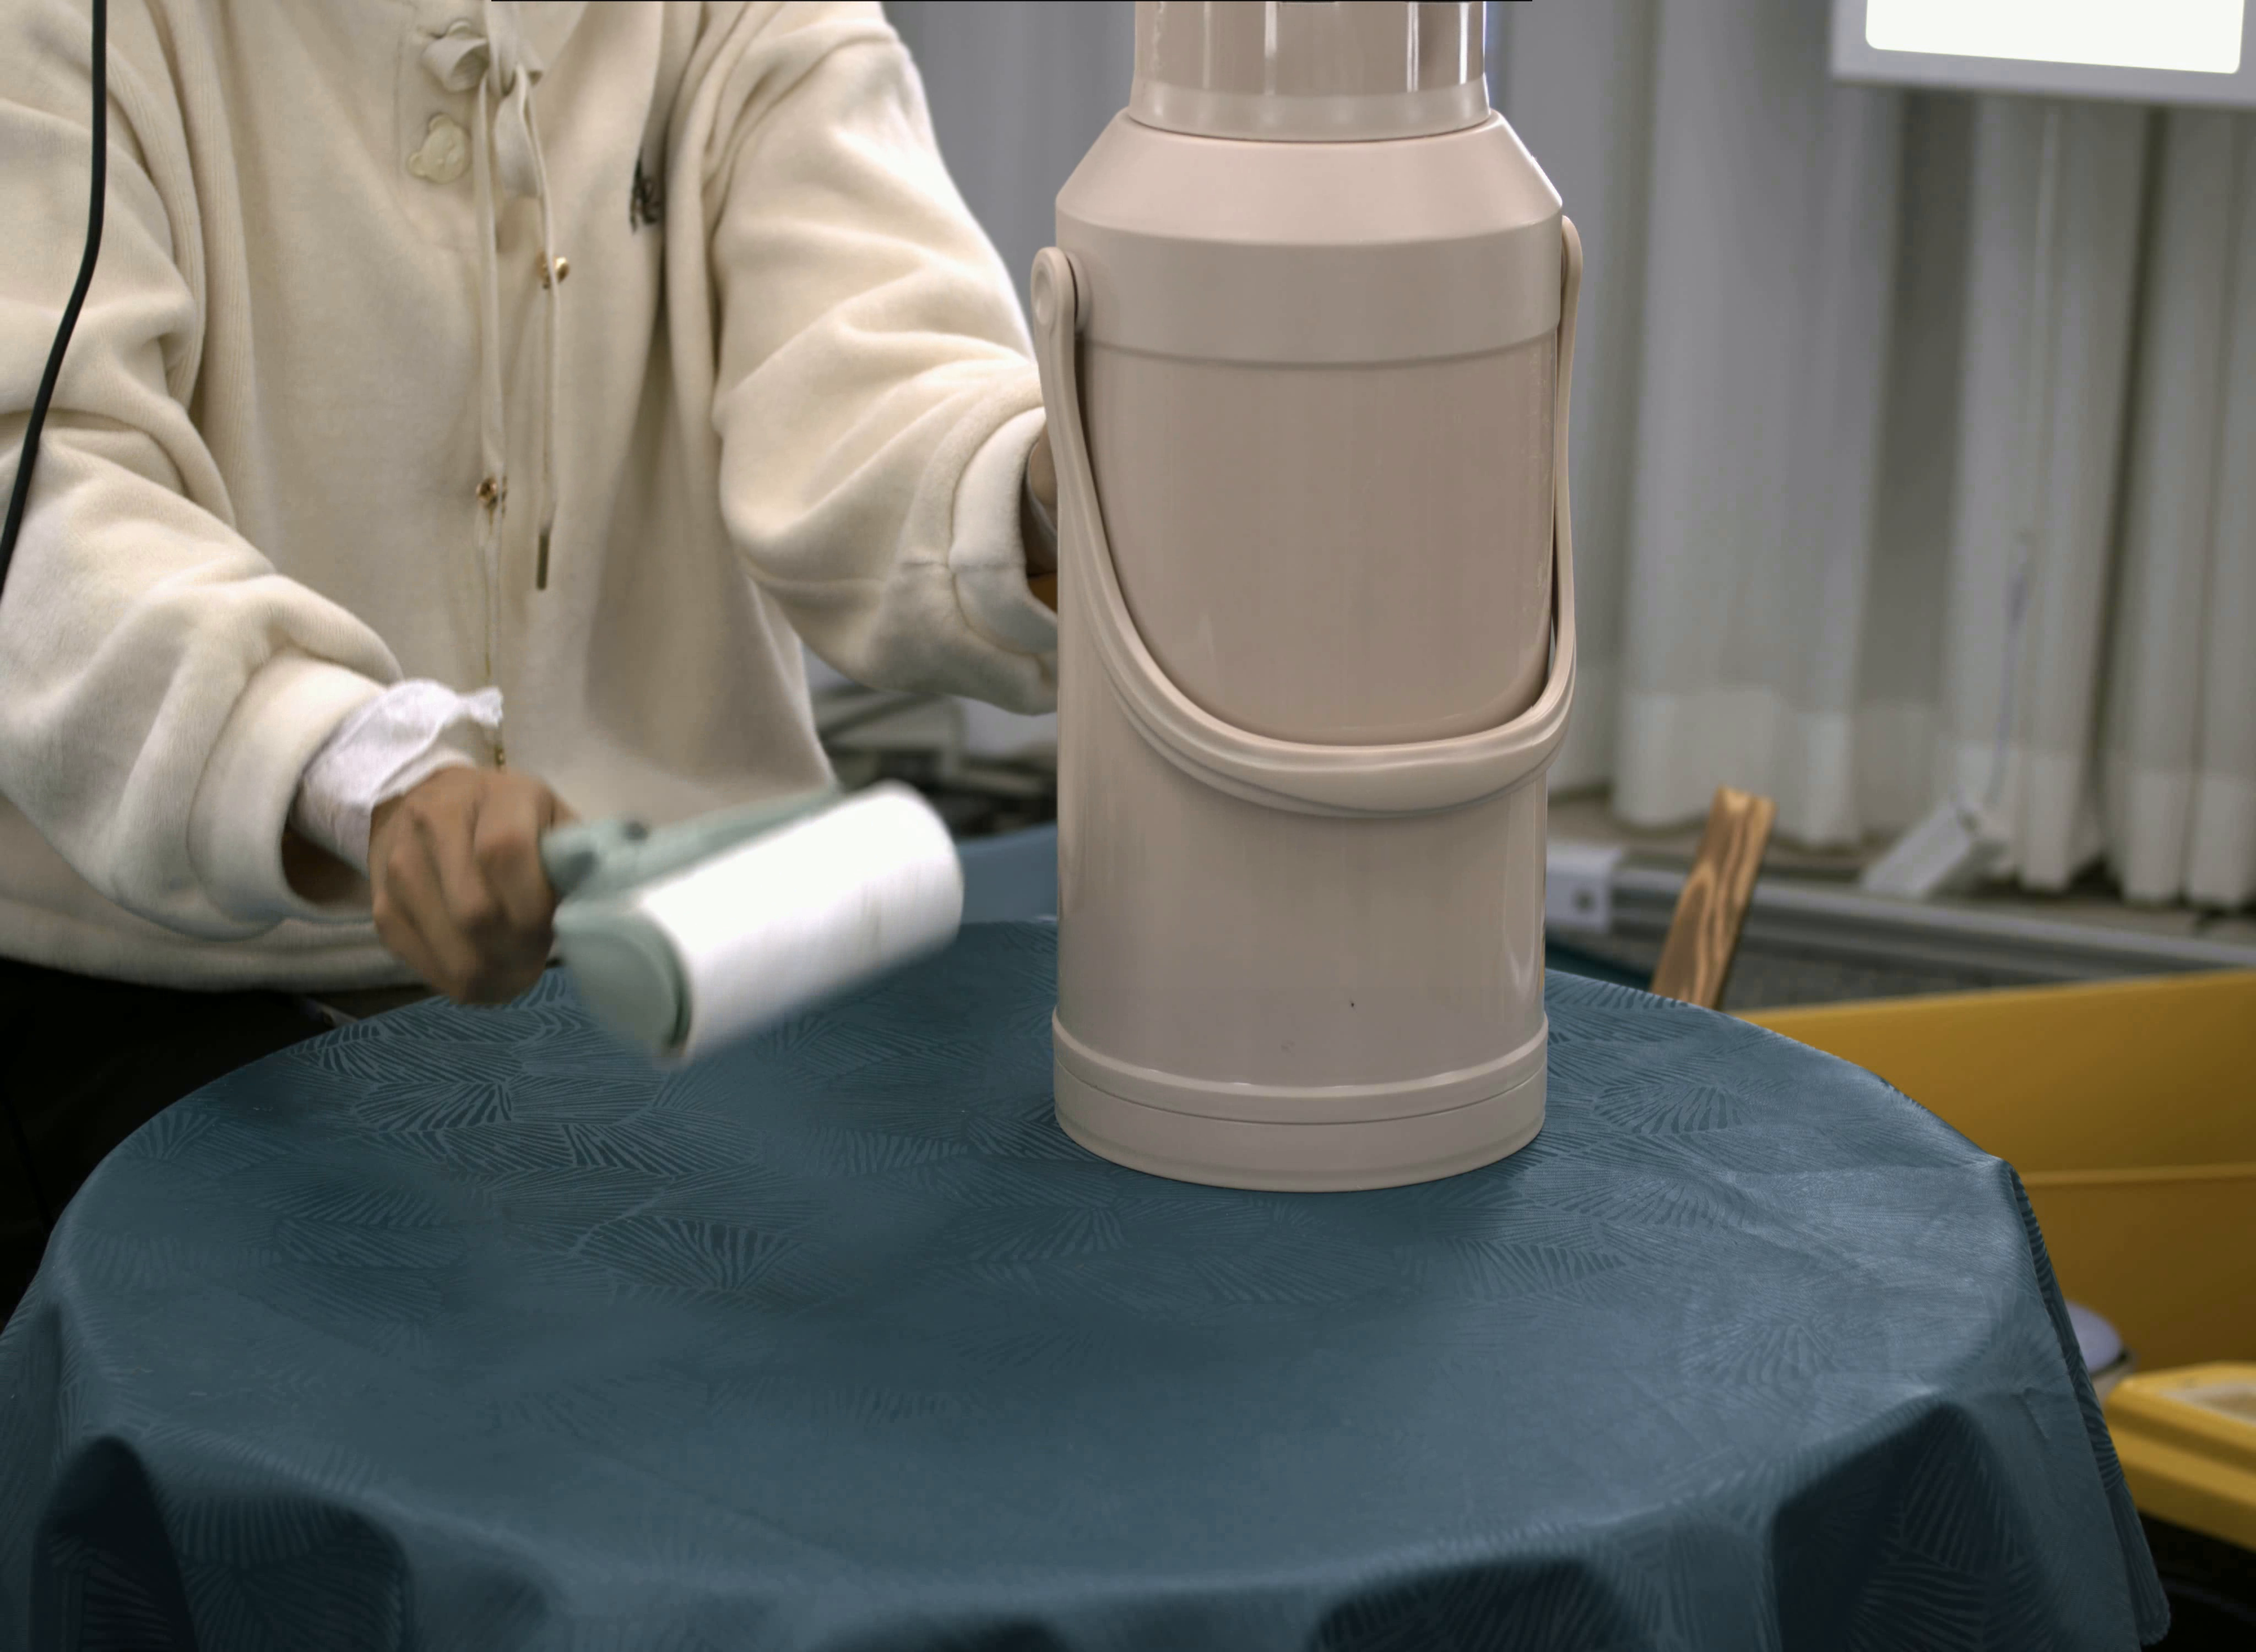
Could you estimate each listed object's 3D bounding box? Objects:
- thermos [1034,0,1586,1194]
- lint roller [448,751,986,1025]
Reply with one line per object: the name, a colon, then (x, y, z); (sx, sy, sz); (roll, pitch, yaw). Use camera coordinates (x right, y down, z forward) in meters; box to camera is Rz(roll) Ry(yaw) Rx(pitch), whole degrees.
thermos: (0.052, -0.102, 1.652); (0.176, 0.410, 0.204); (-7, 17, -21)
lint roller: (-0.140, 0.012, 1.552); (0.117, 0.049, 0.195); (-27, 22, -37)
